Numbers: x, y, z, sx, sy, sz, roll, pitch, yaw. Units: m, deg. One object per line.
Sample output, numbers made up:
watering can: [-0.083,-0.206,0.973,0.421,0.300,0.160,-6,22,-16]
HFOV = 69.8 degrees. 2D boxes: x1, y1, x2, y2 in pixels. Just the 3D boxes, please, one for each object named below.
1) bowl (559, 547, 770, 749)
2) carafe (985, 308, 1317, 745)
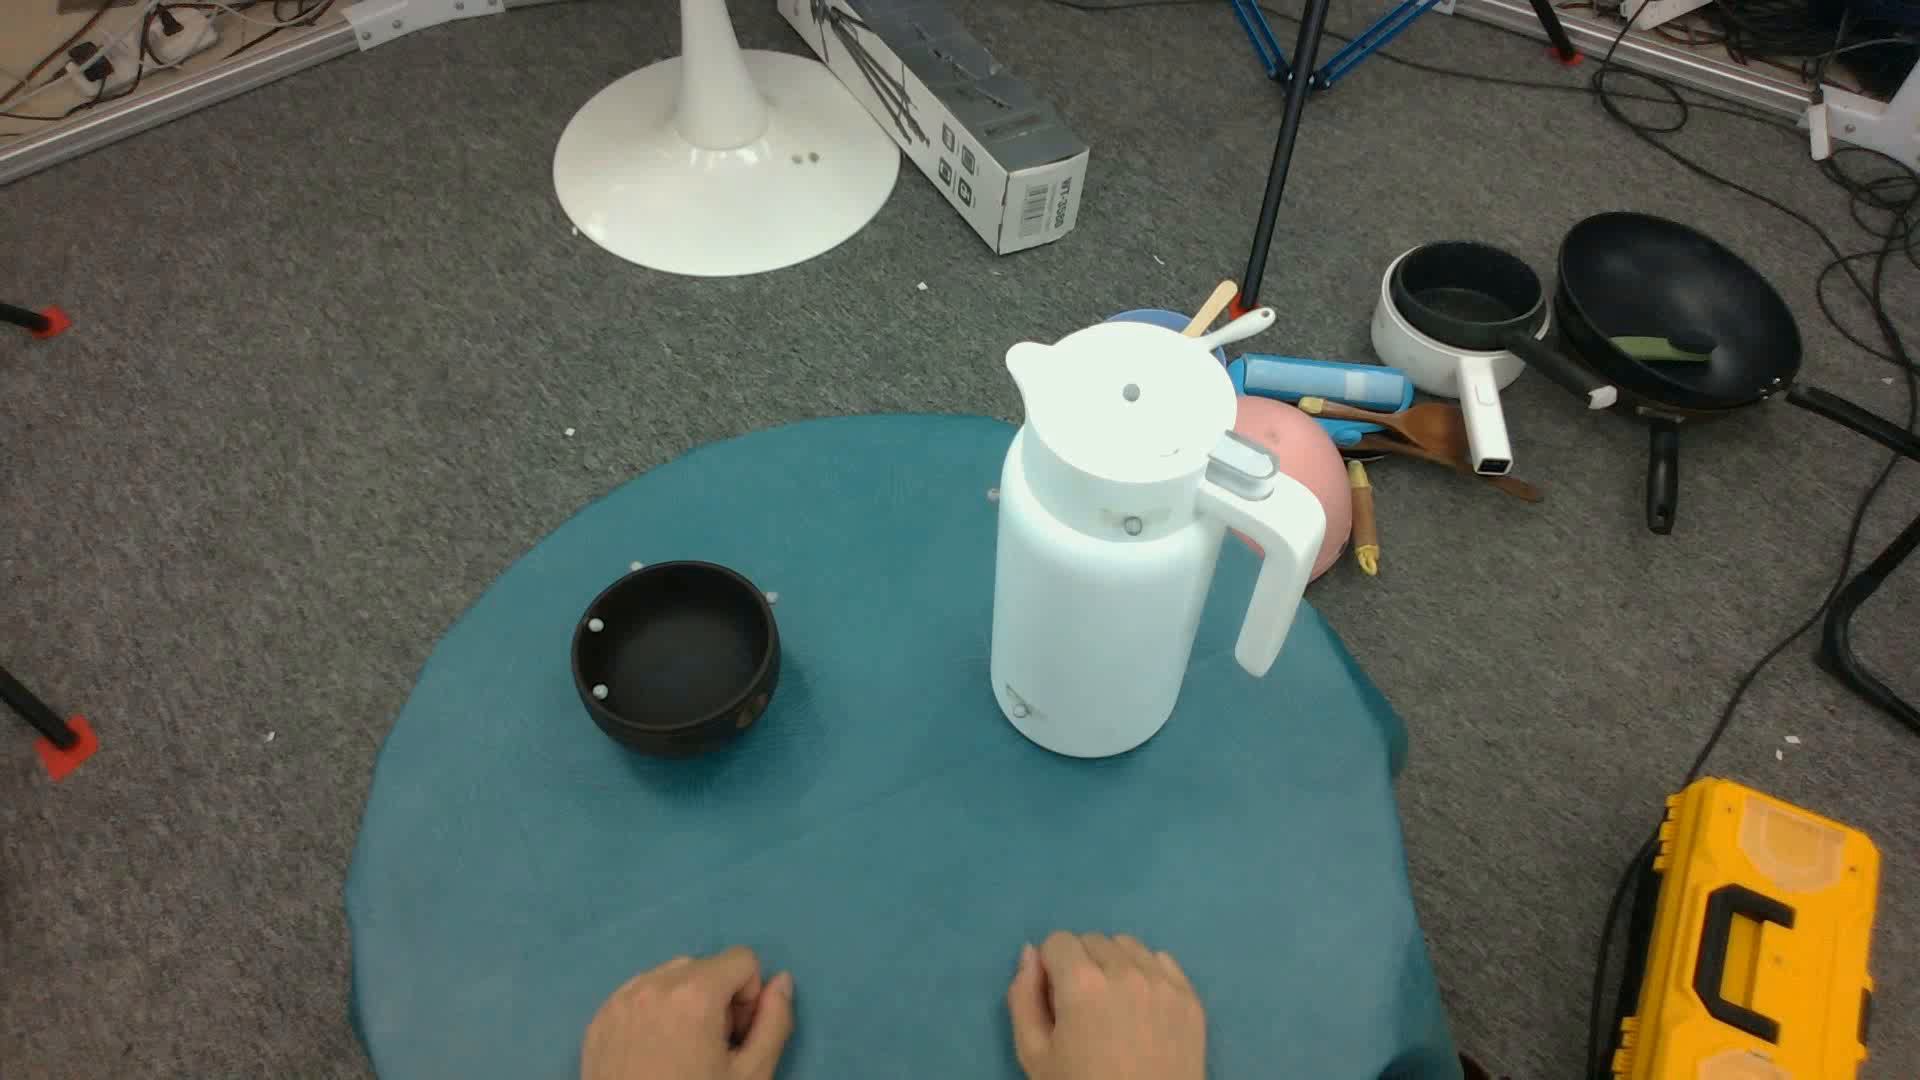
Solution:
bowl: [-0.170,0.069,0.807,0.118,0.069,0.118,1,55,-2]
carafe: [0.089,0.009,0.740,0.173,0.267,0.124,28,57,18]
